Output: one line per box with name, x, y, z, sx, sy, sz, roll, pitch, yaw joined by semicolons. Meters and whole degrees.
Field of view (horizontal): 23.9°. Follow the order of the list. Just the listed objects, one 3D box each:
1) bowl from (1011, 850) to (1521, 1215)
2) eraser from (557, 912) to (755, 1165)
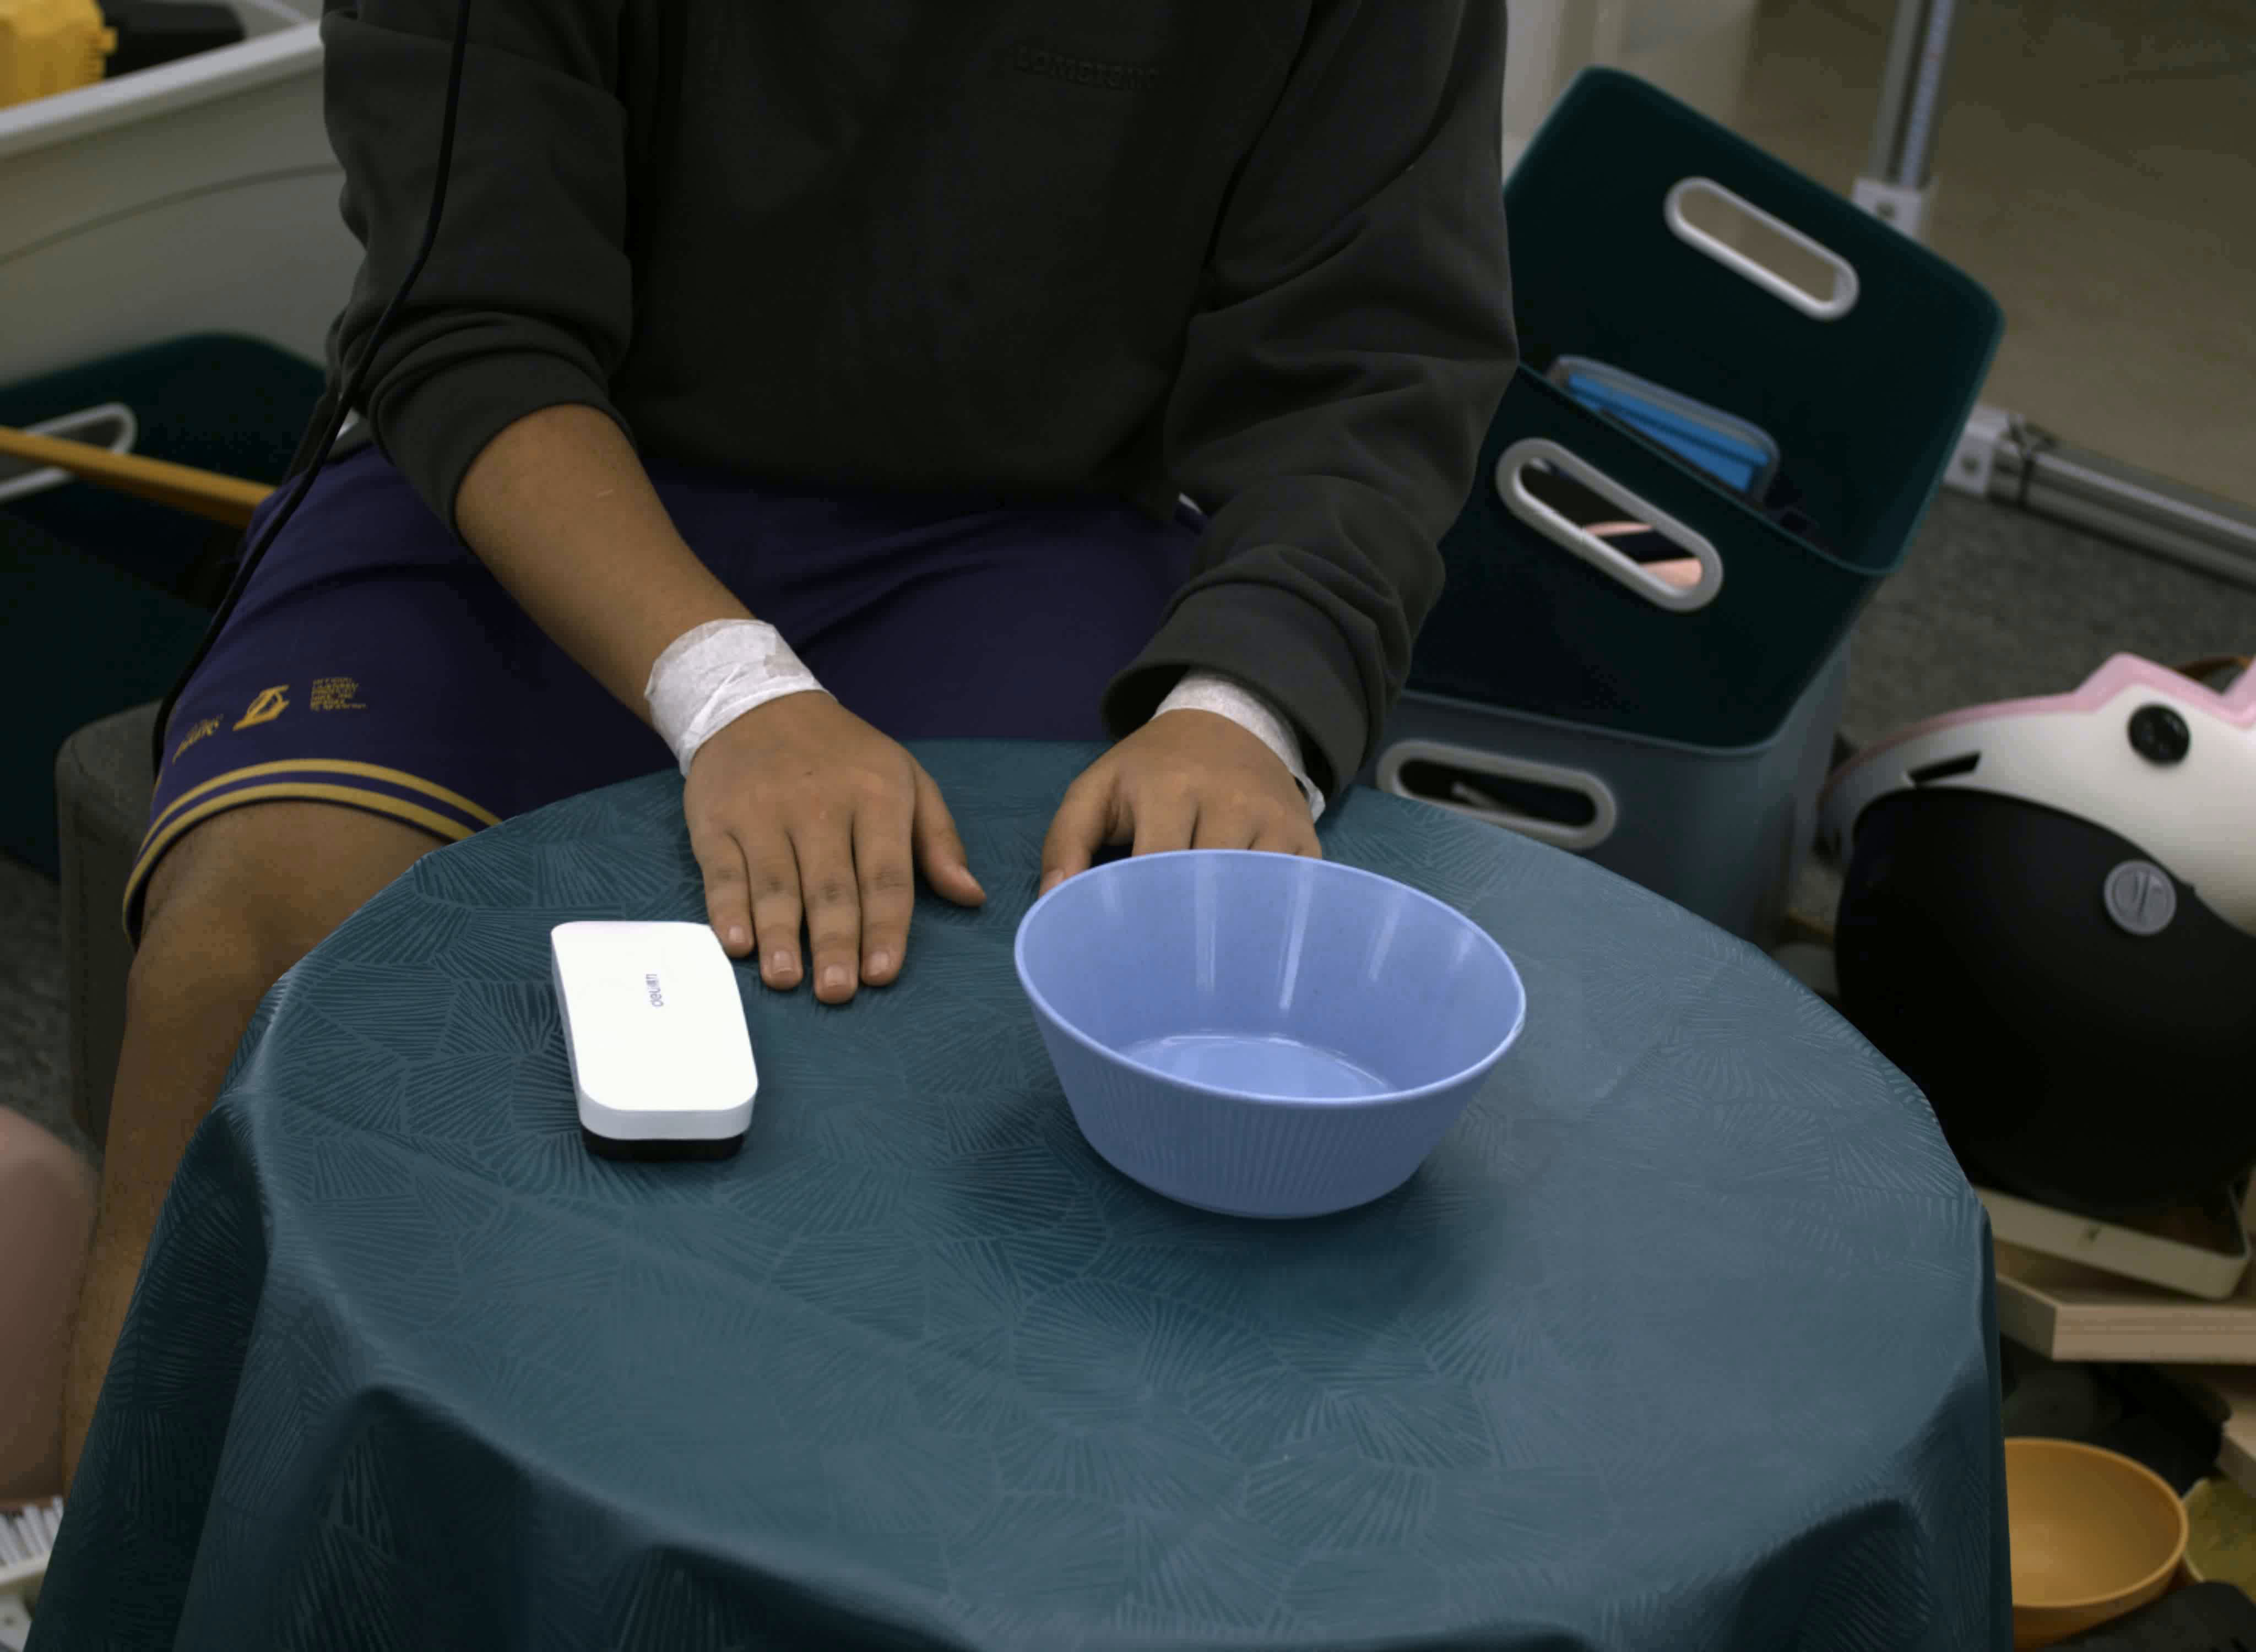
bowl;0.043;0.077;1.825;0.175;0.070;0.177;6;27;-3
eraser;-0.163;0.070;1.835;0.063;0.034;0.132;2;29;-11
